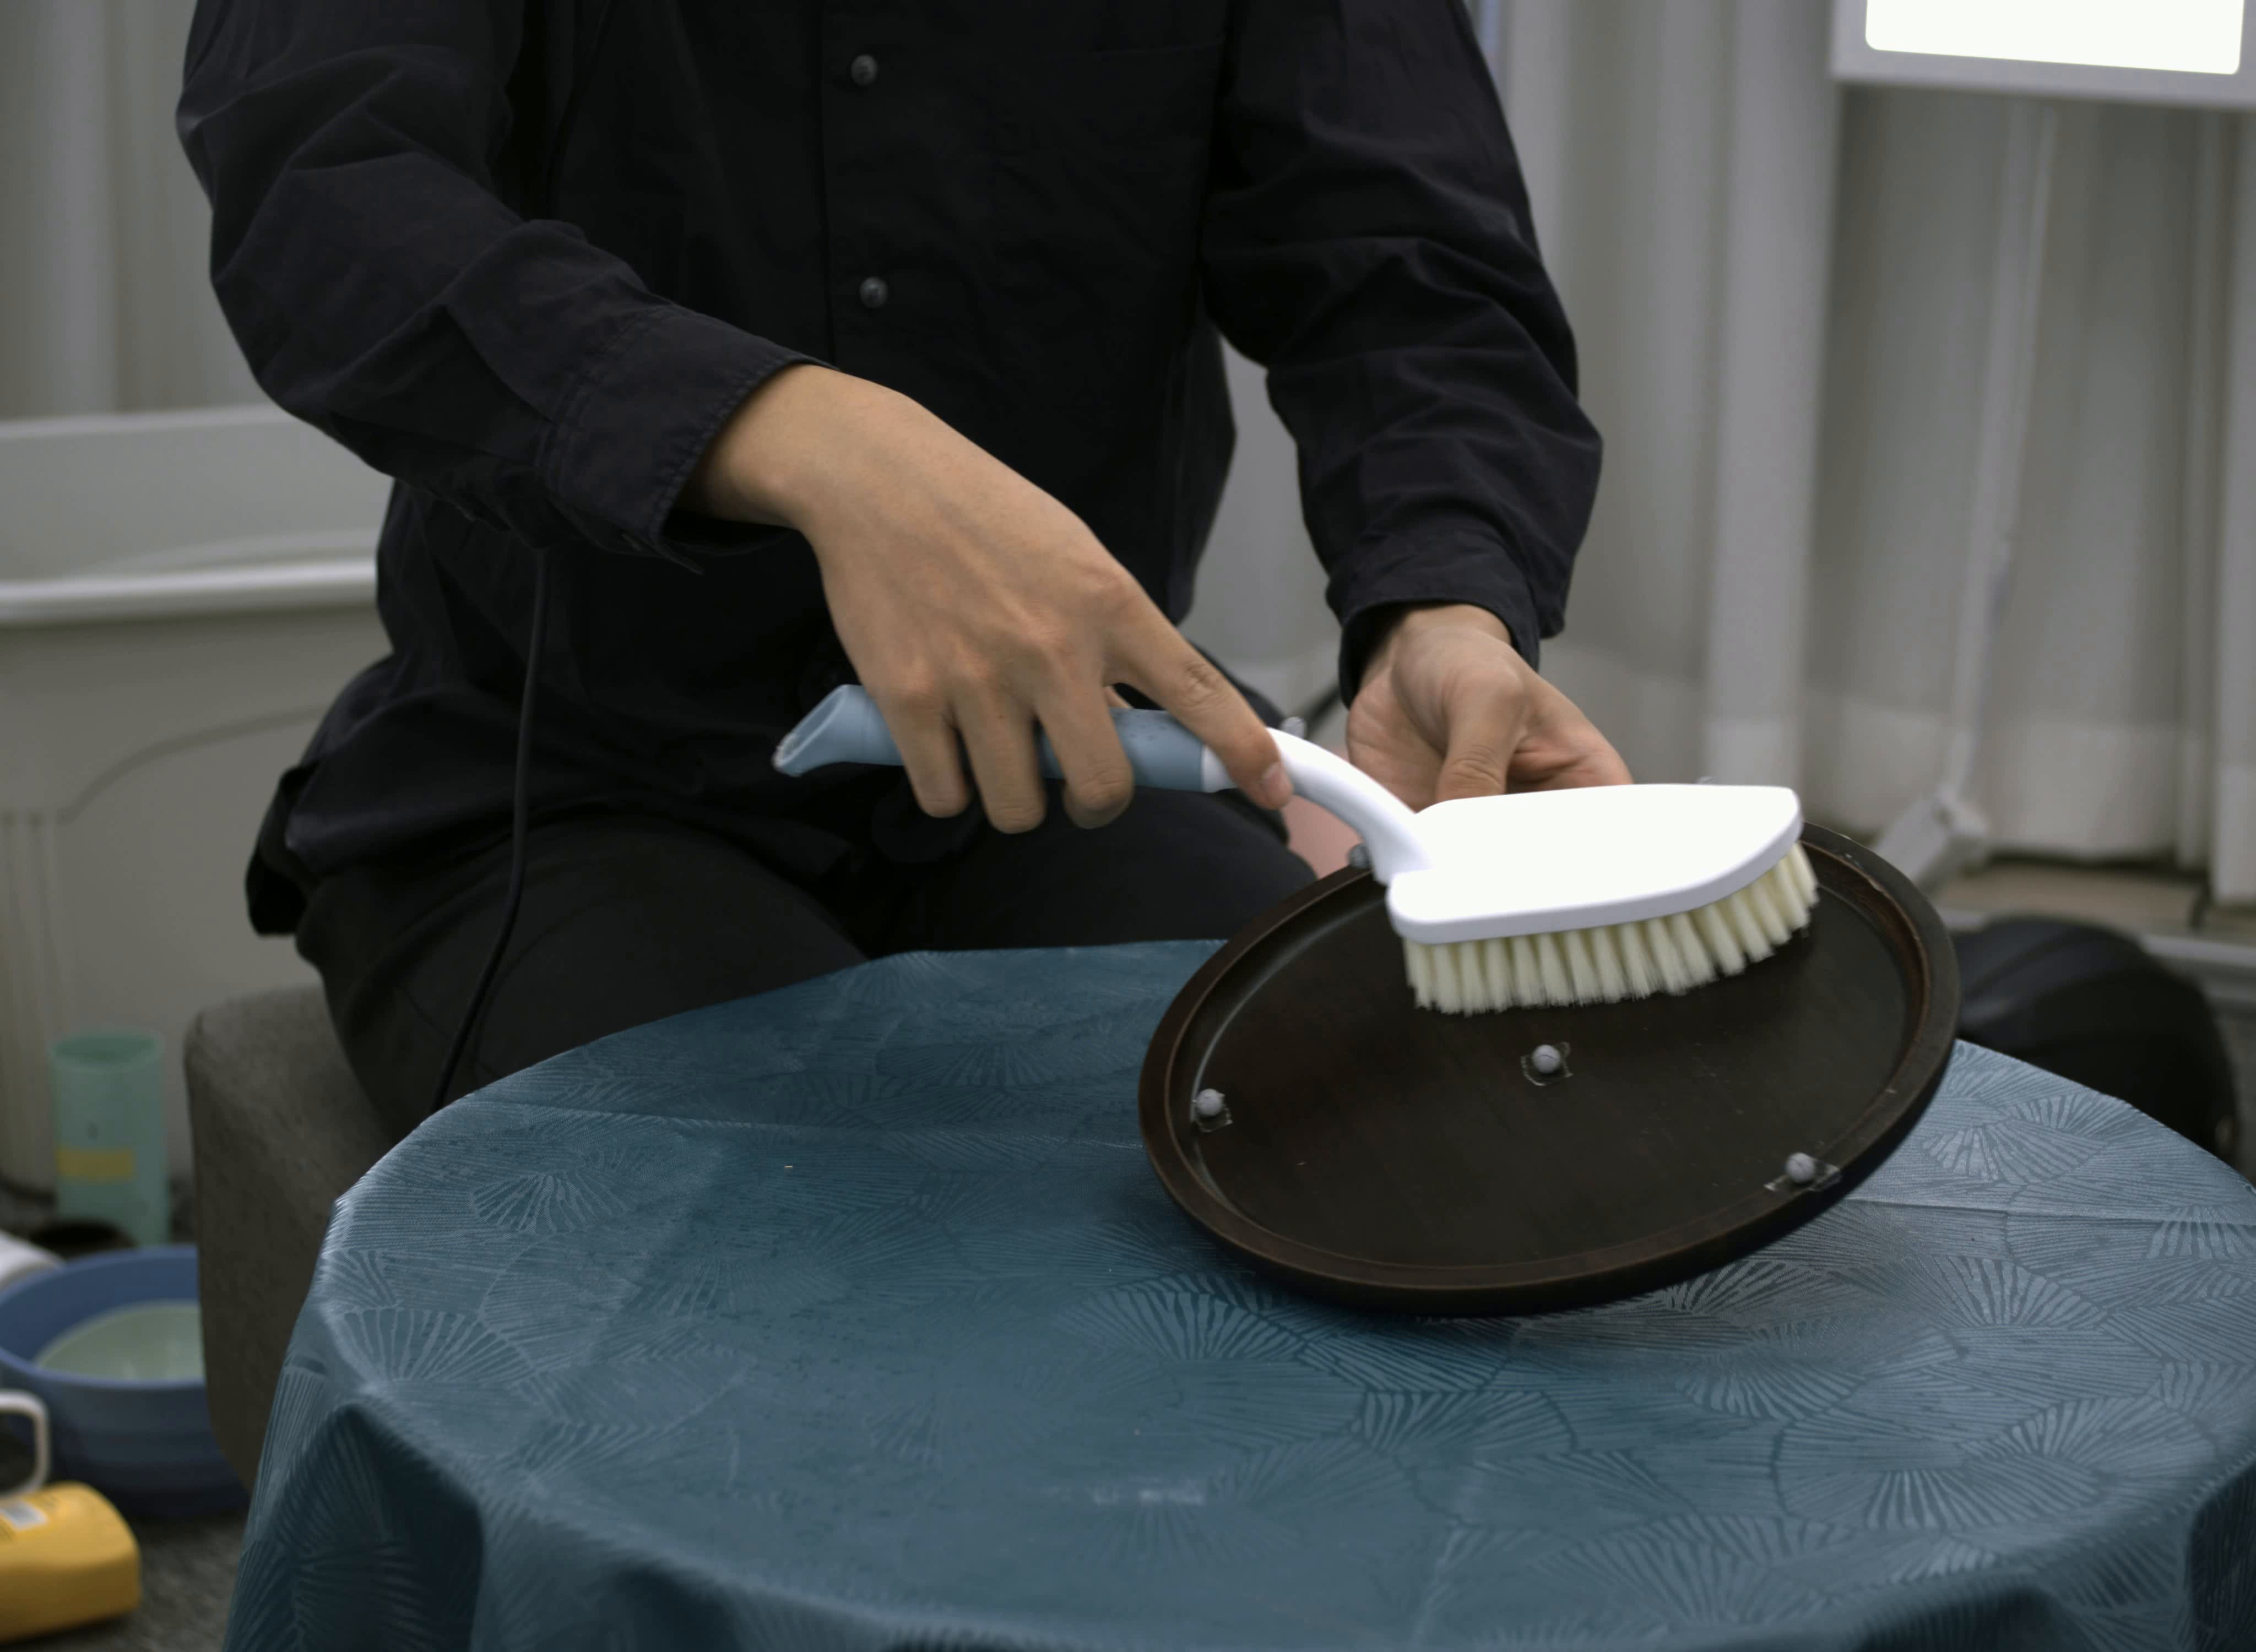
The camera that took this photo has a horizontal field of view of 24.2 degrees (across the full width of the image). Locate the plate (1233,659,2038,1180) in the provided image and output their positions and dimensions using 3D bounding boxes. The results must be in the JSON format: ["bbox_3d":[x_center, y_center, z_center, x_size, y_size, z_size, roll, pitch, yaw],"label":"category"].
[{"bbox_3d":[0.158,0.030,1.638,0.253,0.029,0.252,-11,32,8],"label":"plate"}]

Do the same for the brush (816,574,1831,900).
[{"bbox_3d":[0.061,-0.023,1.680,0.323,0.085,0.083,5,-2,6],"label":"brush"}]
